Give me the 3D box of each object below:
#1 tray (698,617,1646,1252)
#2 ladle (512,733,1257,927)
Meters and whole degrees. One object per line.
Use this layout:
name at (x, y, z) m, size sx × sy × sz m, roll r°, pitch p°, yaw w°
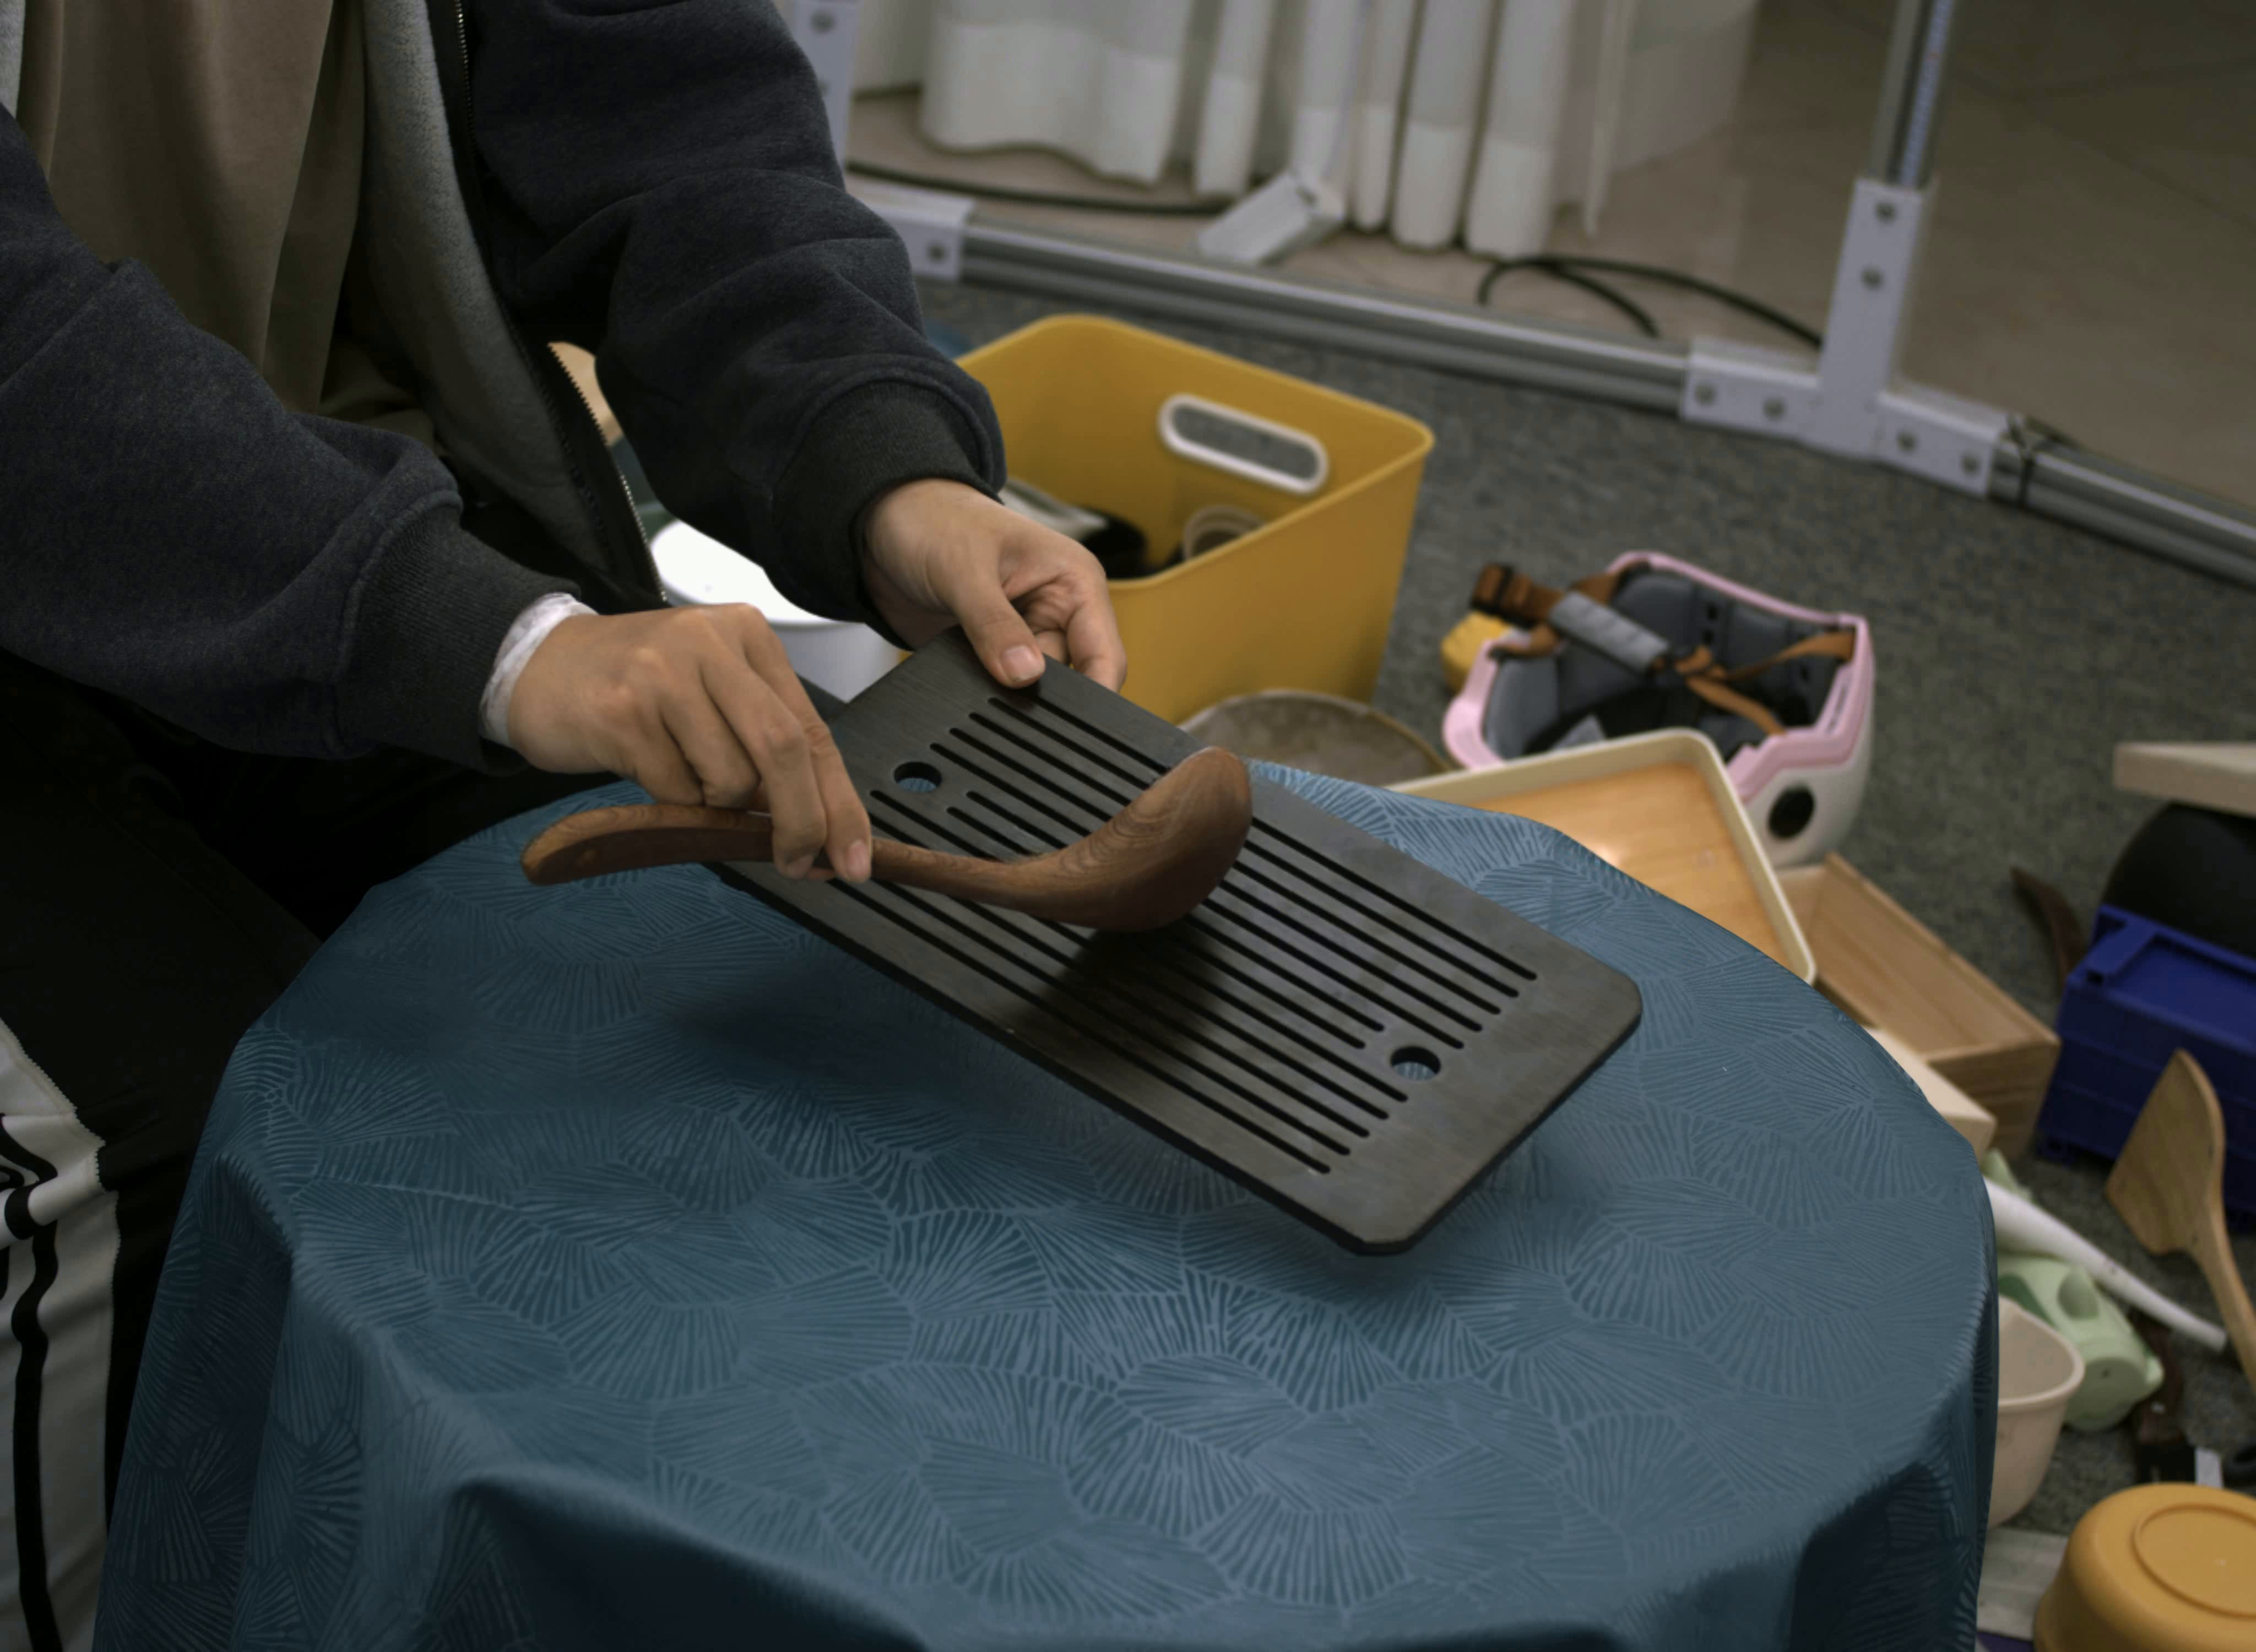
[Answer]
tray at (0.014, 0.035, 1.856) m, size 0.307 × 0.018 × 0.170 m, roll 30°, pitch 46°, yaw 24°
ladle at (-0.081, -0.002, 1.792) m, size 0.258 × 0.076 × 0.066 m, roll 3°, pitch 47°, yaw -15°
